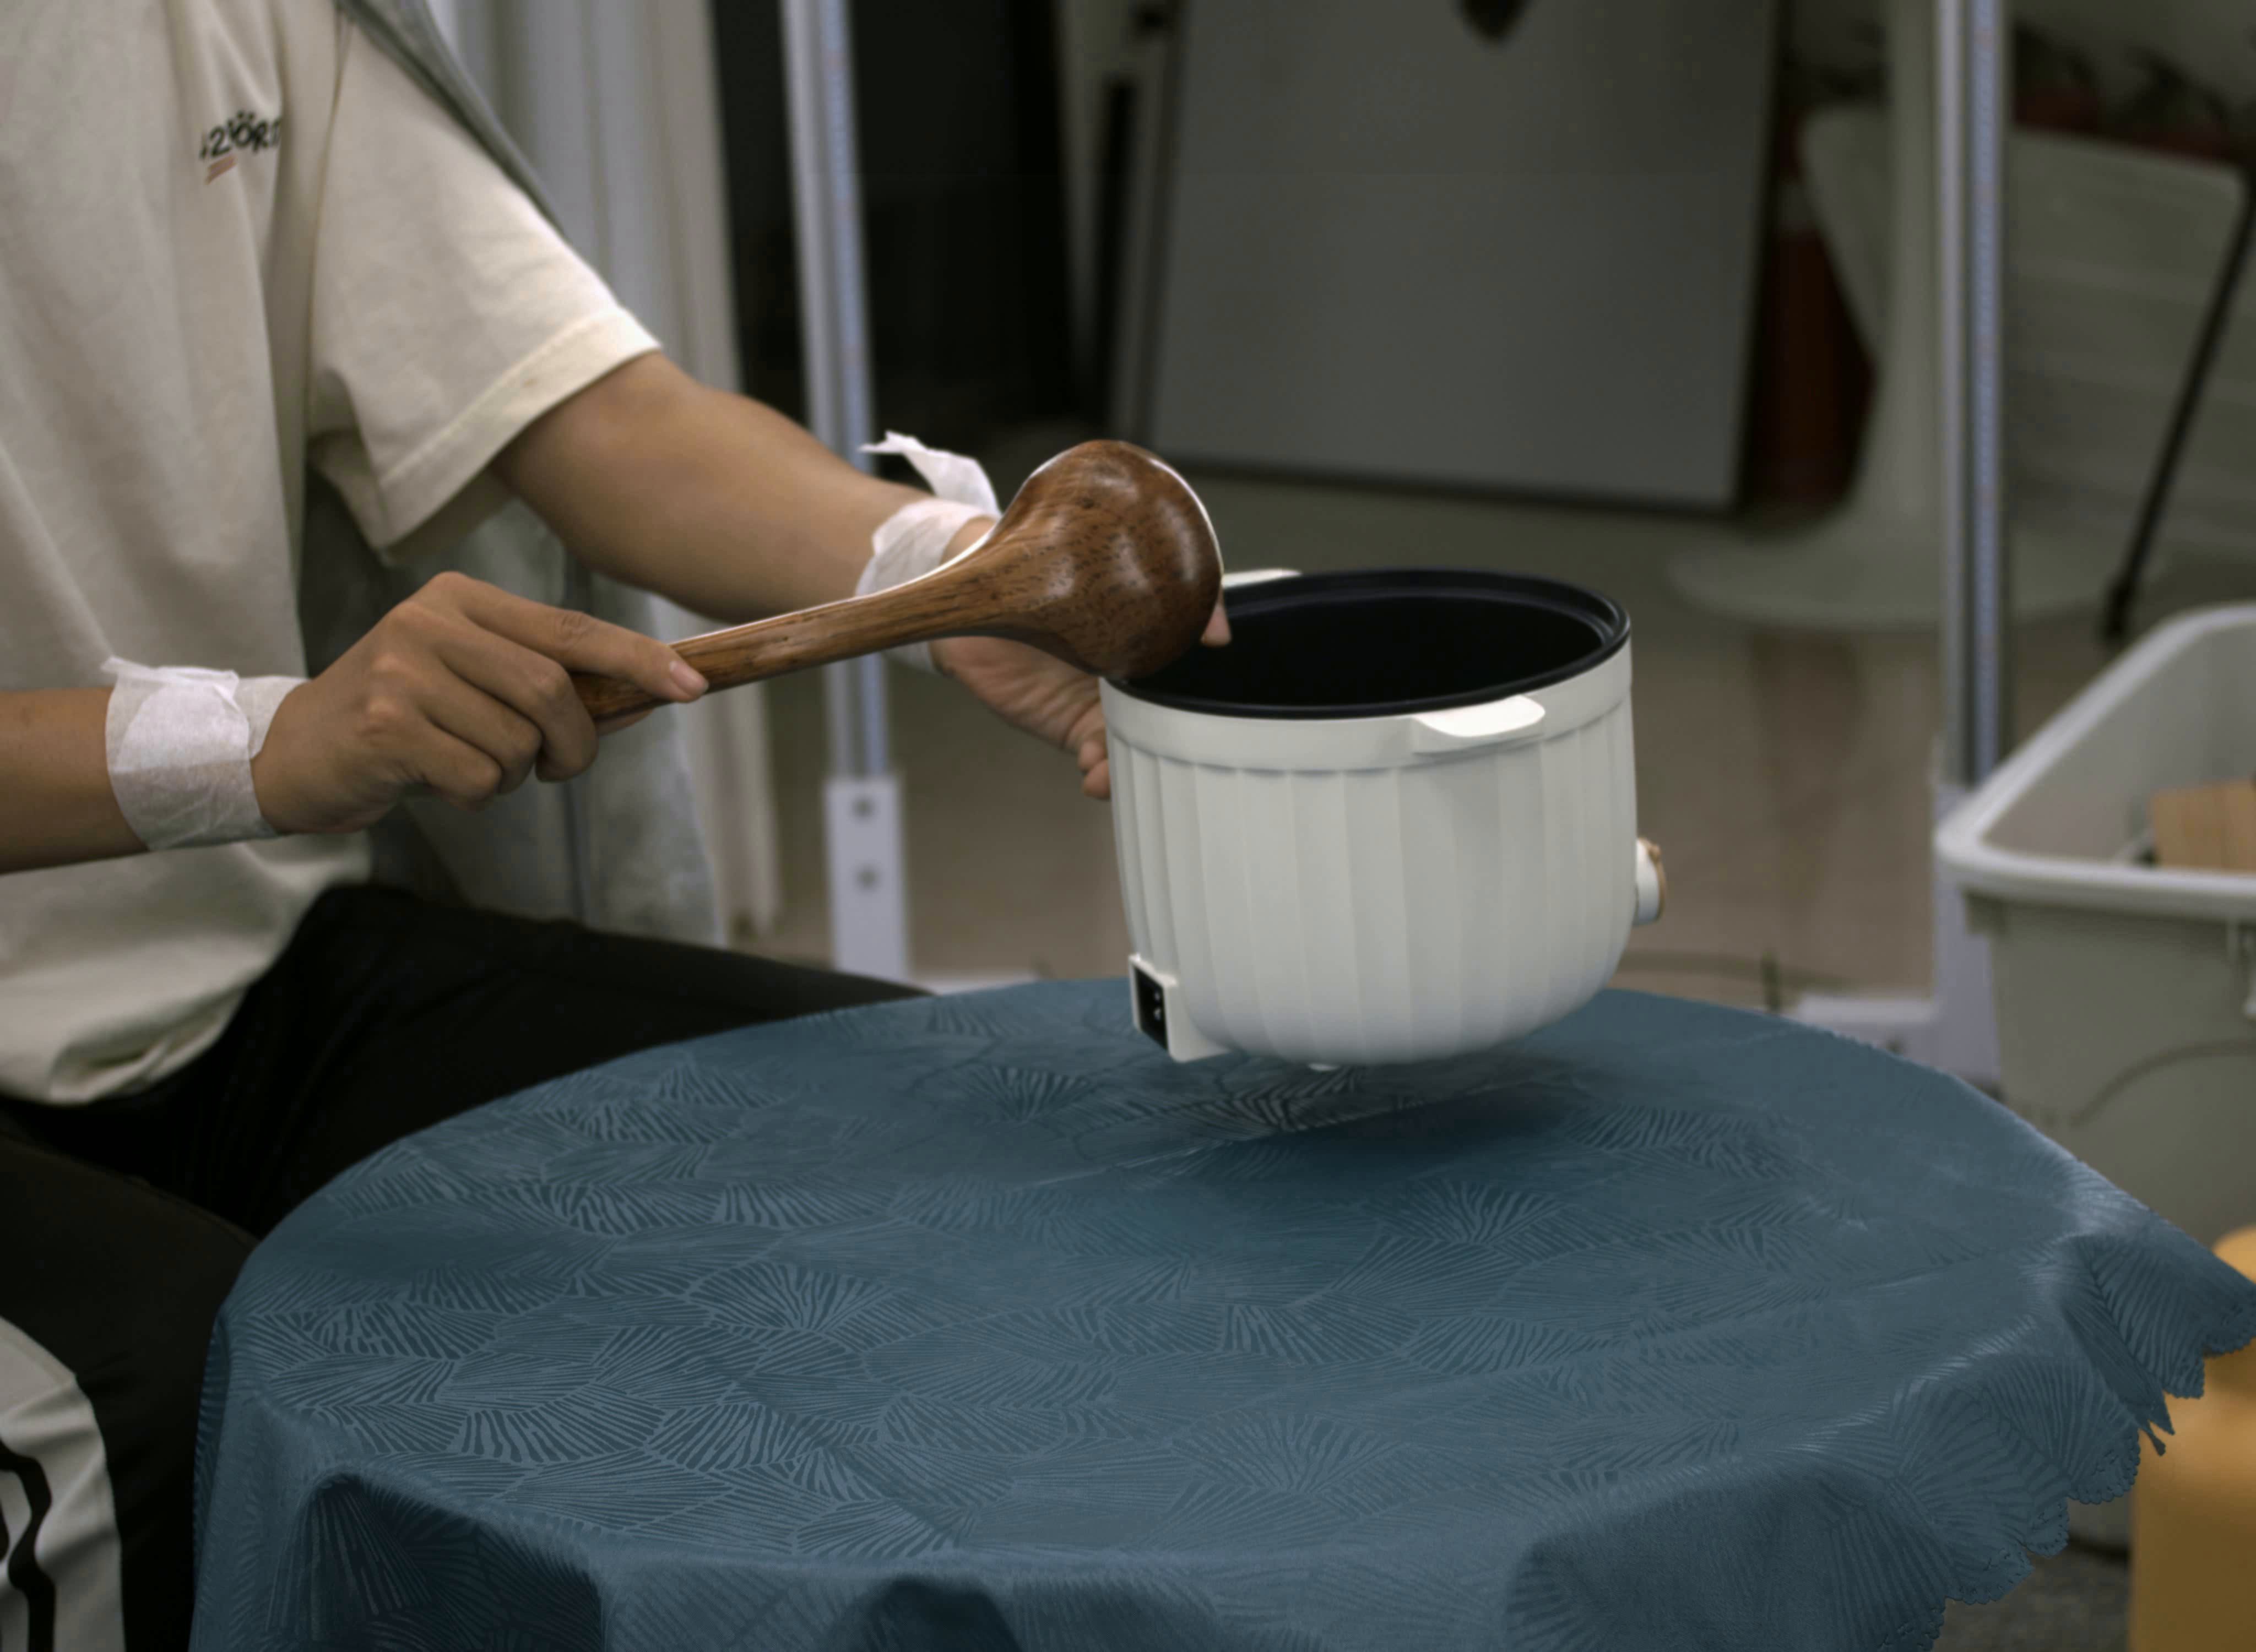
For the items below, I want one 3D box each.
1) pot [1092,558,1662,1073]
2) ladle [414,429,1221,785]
[{"bbox_3d":[0.088,-0.003,1.835,0.187,0.144,0.242,-14,19,-17],"label":"pot"},{"bbox_3d":[-0.102,-0.063,1.802,0.272,0.083,0.076,-16,-7,12],"label":"ladle"}]
